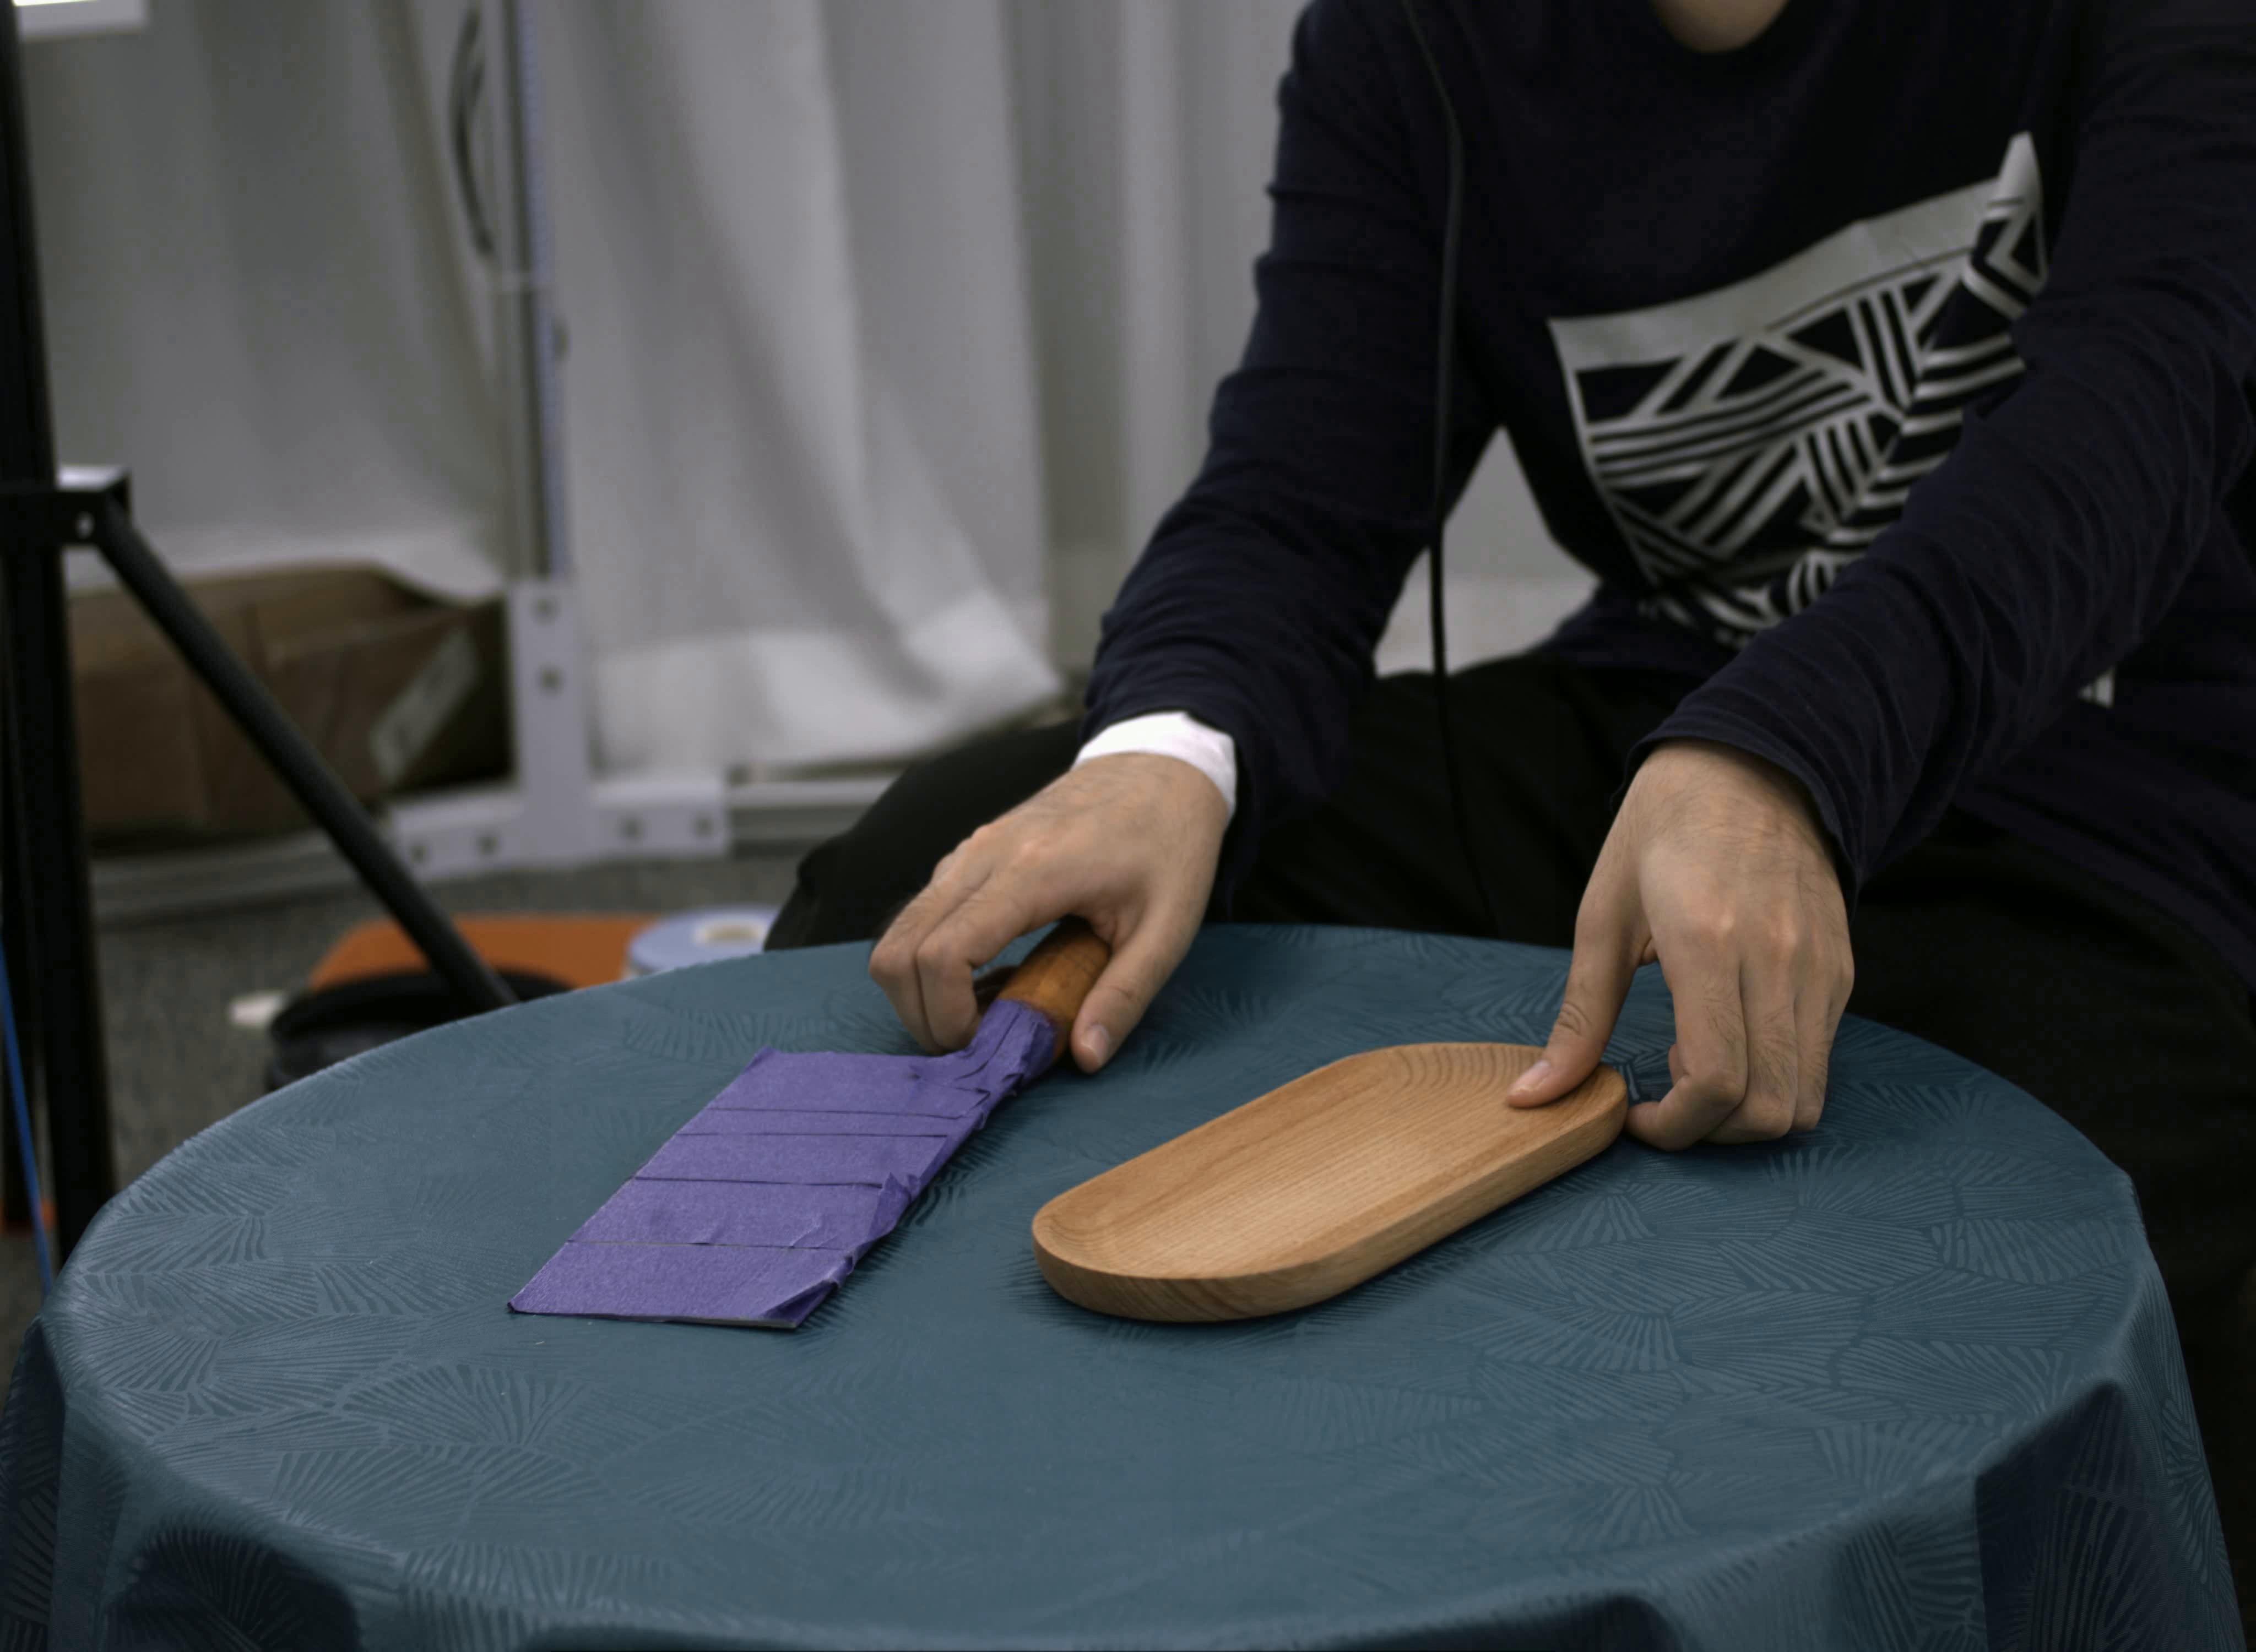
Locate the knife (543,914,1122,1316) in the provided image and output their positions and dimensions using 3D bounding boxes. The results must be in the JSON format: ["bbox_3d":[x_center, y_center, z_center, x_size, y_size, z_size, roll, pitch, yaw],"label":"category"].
[{"bbox_3d":[-0.086,0.084,1.611,0.105,0.032,0.312,2,17,17],"label":"knife"}]

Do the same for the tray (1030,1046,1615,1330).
[{"bbox_3d":[0.060,0.103,1.539,0.104,0.020,0.226,6,19,34],"label":"tray"}]
